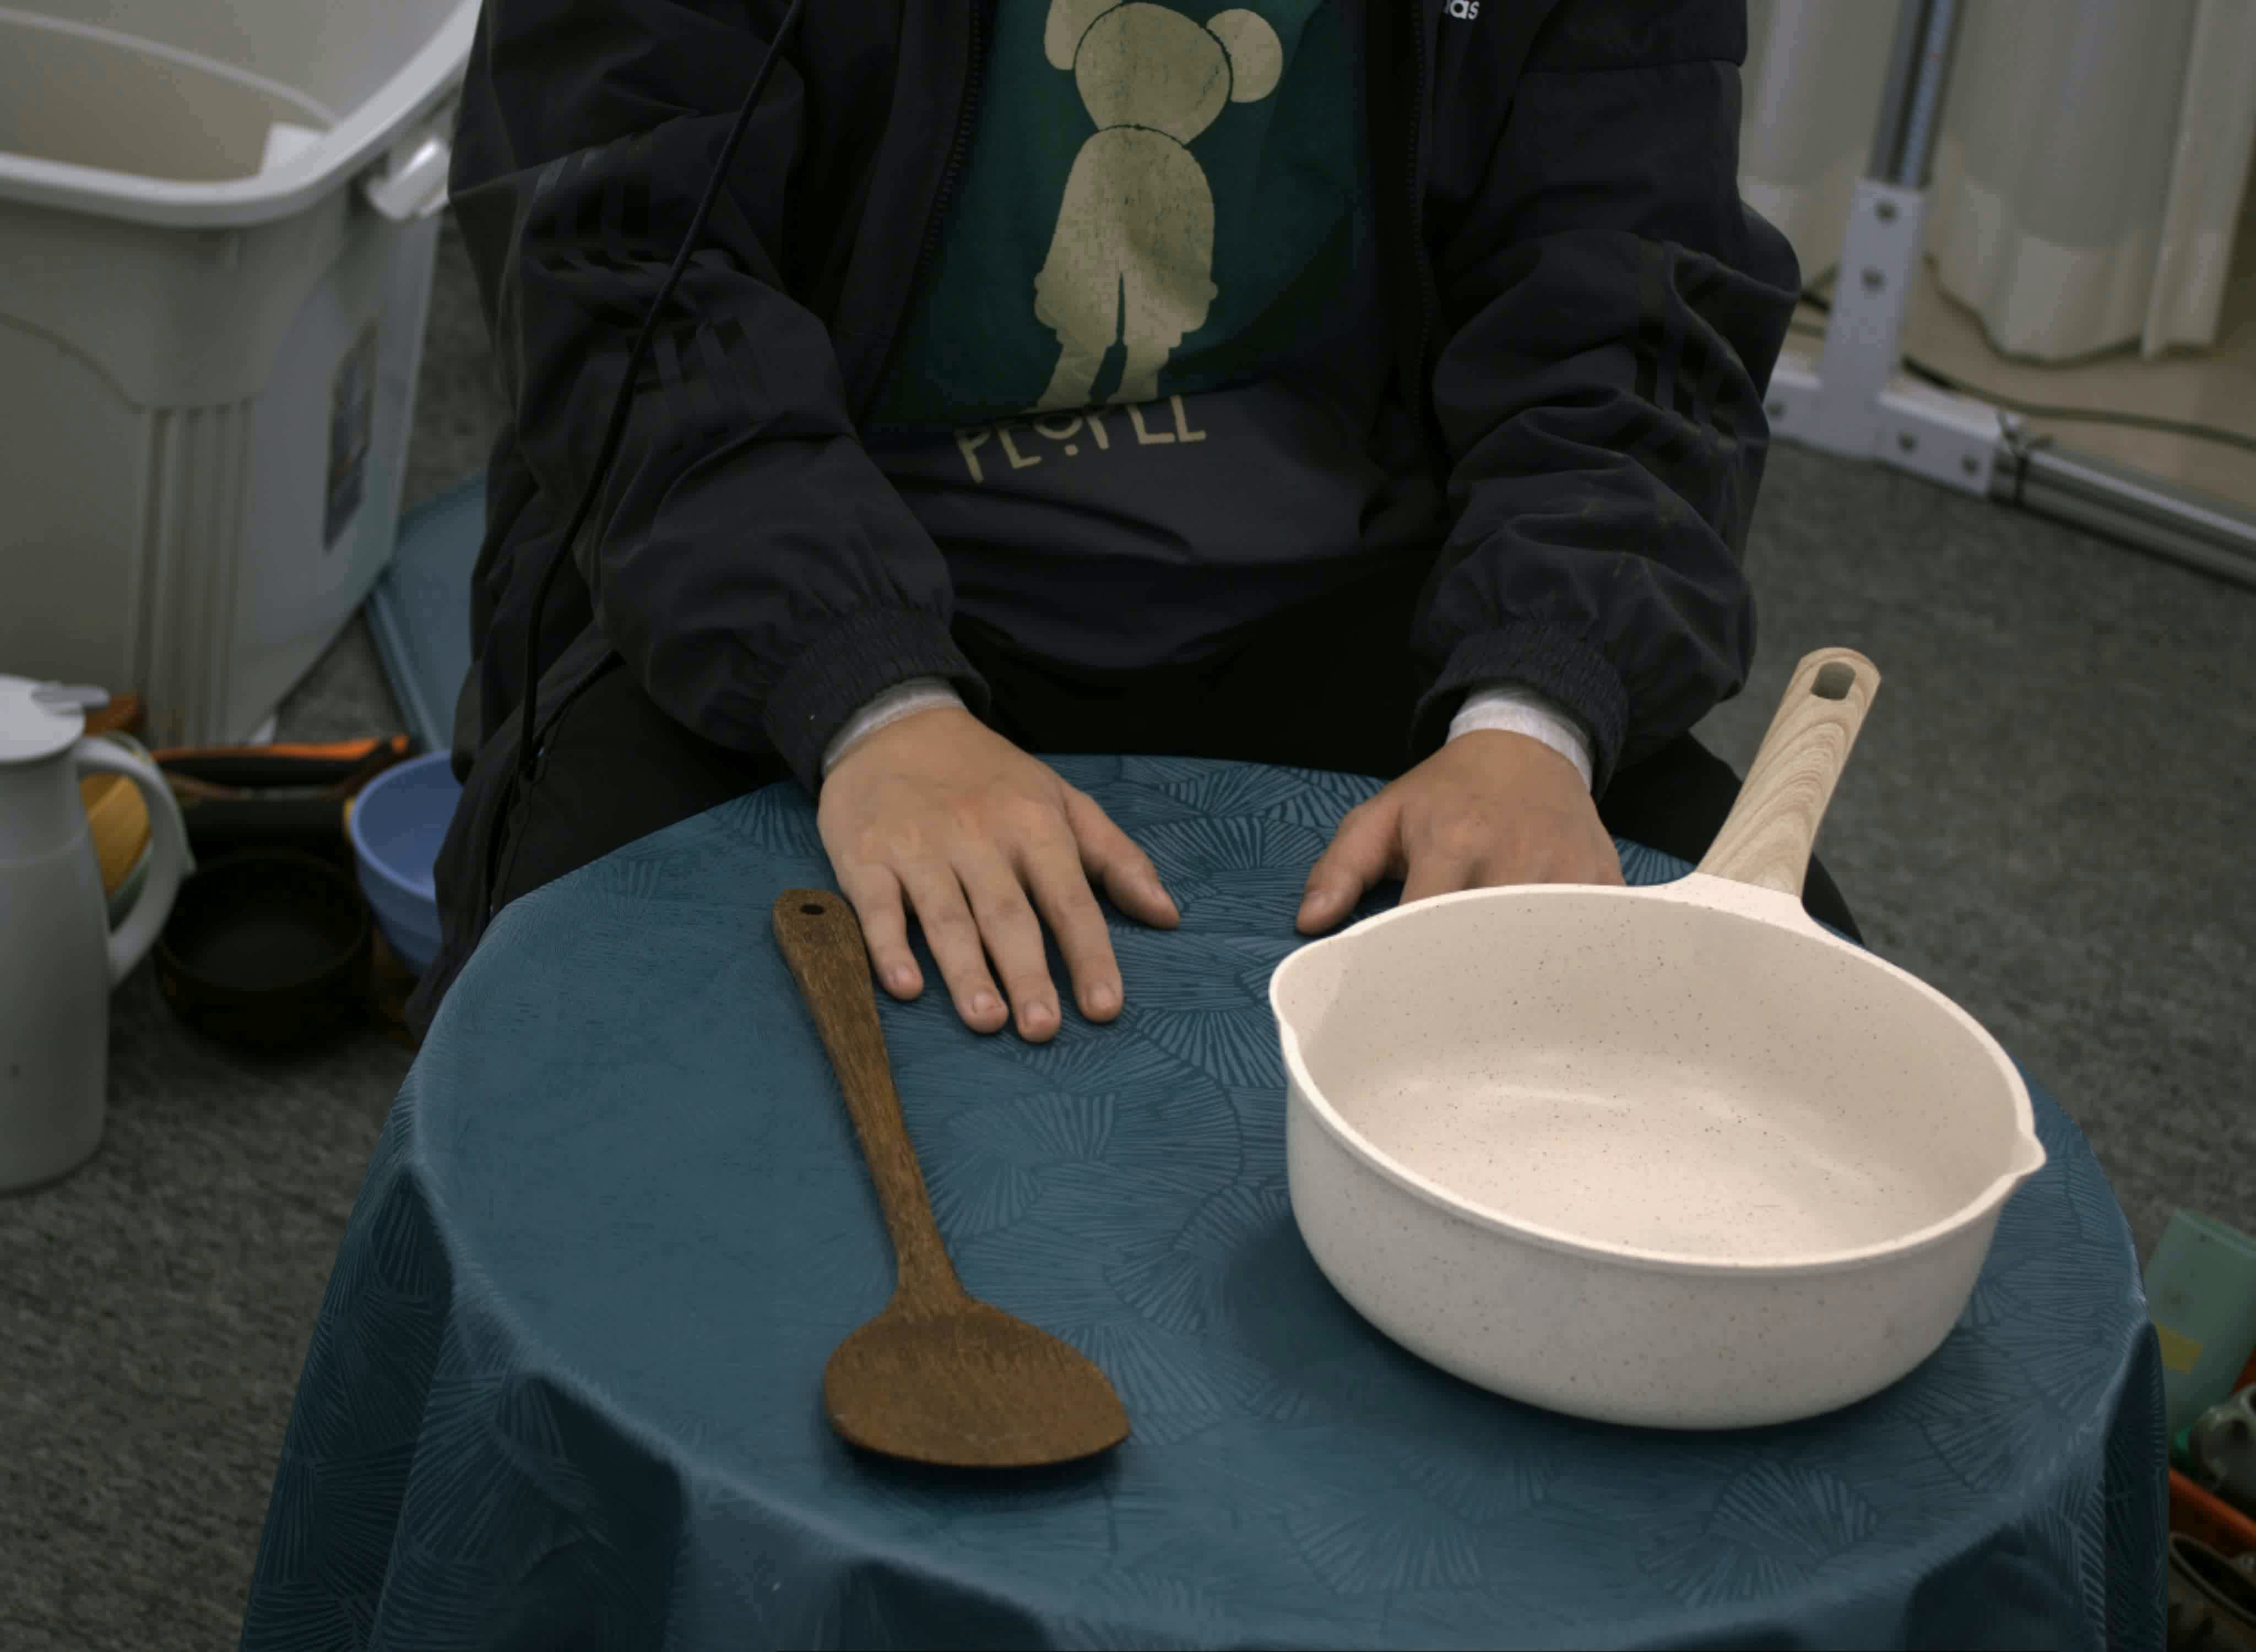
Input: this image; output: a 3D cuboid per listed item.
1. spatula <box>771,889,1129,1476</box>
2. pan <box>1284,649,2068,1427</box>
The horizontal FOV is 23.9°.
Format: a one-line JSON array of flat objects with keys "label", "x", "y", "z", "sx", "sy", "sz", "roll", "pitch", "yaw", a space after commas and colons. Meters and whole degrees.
[{"label": "spatula", "x": -0.080, "y": 0.111, "z": 1.796, "sx": 0.095, "sy": 0.016, "sz": 0.389, "roll": 0, "pitch": 27, "yaw": -13}, {"label": "pan", "x": 0.205, "y": 0.068, "z": 1.847, "sx": 0.264, "sy": 0.101, "sz": 0.435, "roll": 12, "pitch": 28, "yaw": 14}]
